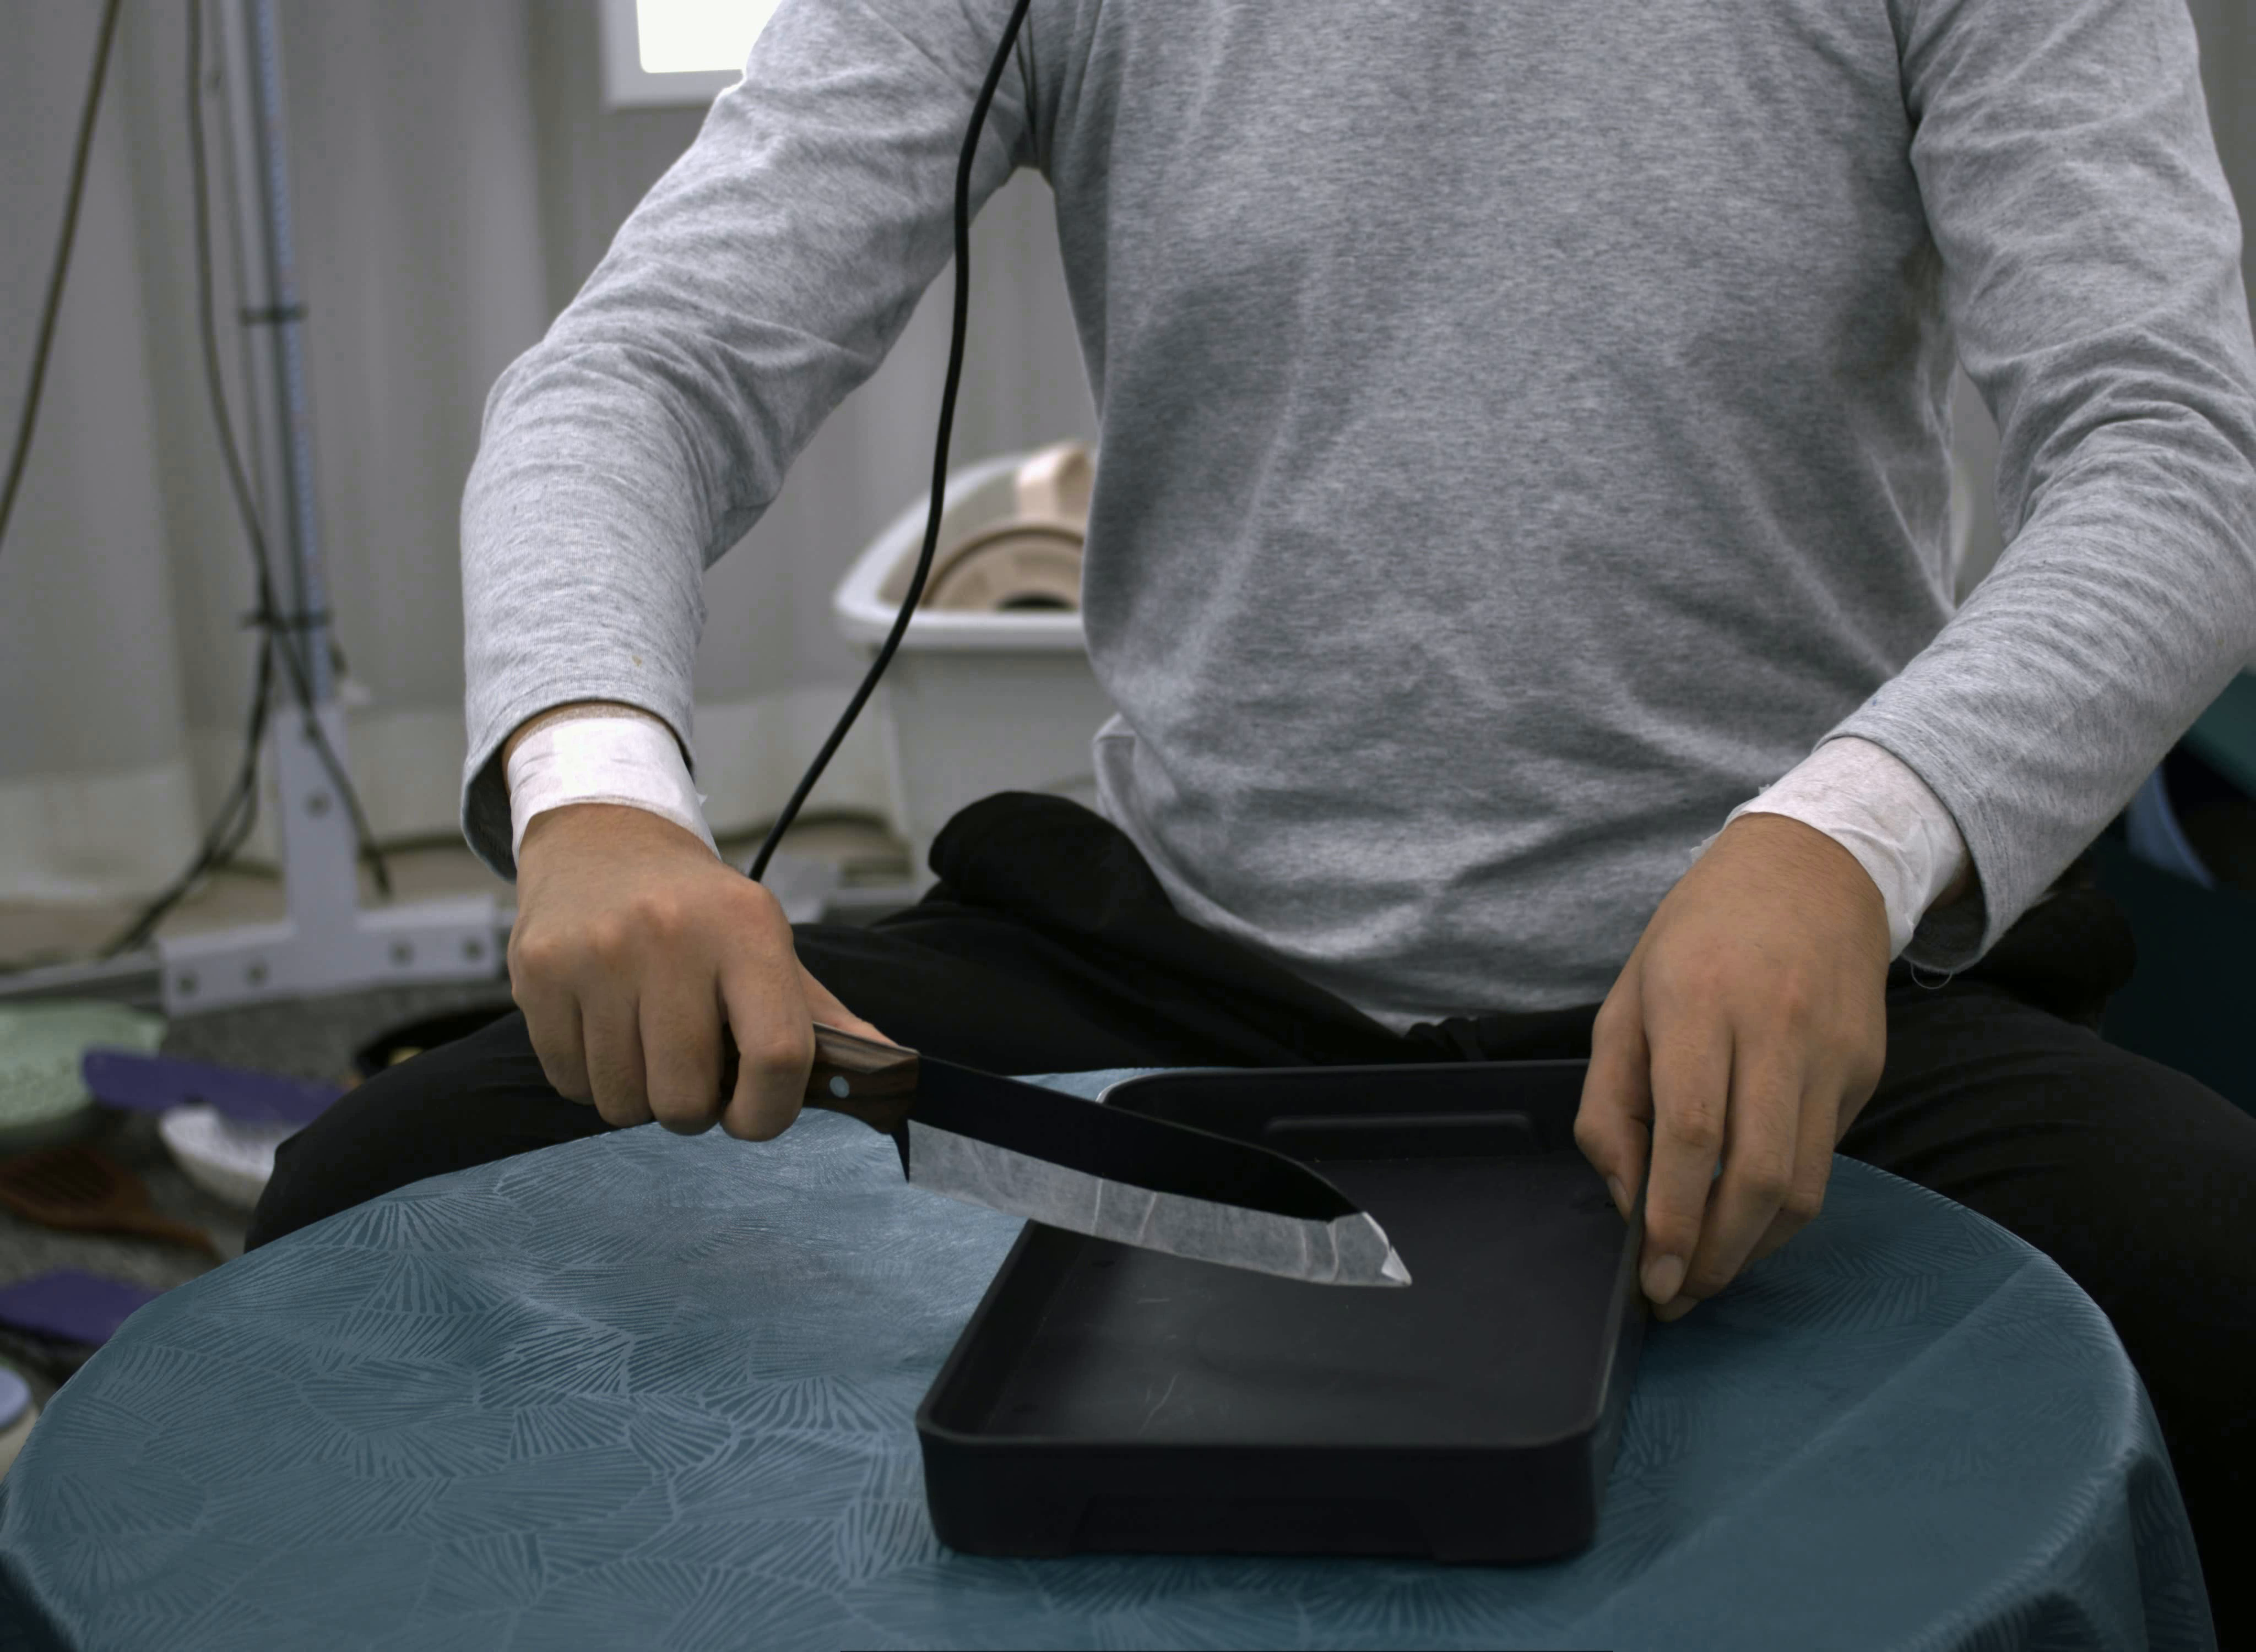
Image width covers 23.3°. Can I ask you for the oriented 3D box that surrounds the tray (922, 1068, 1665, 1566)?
[{"bbox_3d":[0.056,0.134,1.556,0.184,0.037,0.319,-2,14,9],"label":"tray"}]

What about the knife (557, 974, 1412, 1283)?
[{"bbox_3d":[-0.045,0.088,1.592,0.290,0.050,0.020,16,29,27],"label":"knife"}]
